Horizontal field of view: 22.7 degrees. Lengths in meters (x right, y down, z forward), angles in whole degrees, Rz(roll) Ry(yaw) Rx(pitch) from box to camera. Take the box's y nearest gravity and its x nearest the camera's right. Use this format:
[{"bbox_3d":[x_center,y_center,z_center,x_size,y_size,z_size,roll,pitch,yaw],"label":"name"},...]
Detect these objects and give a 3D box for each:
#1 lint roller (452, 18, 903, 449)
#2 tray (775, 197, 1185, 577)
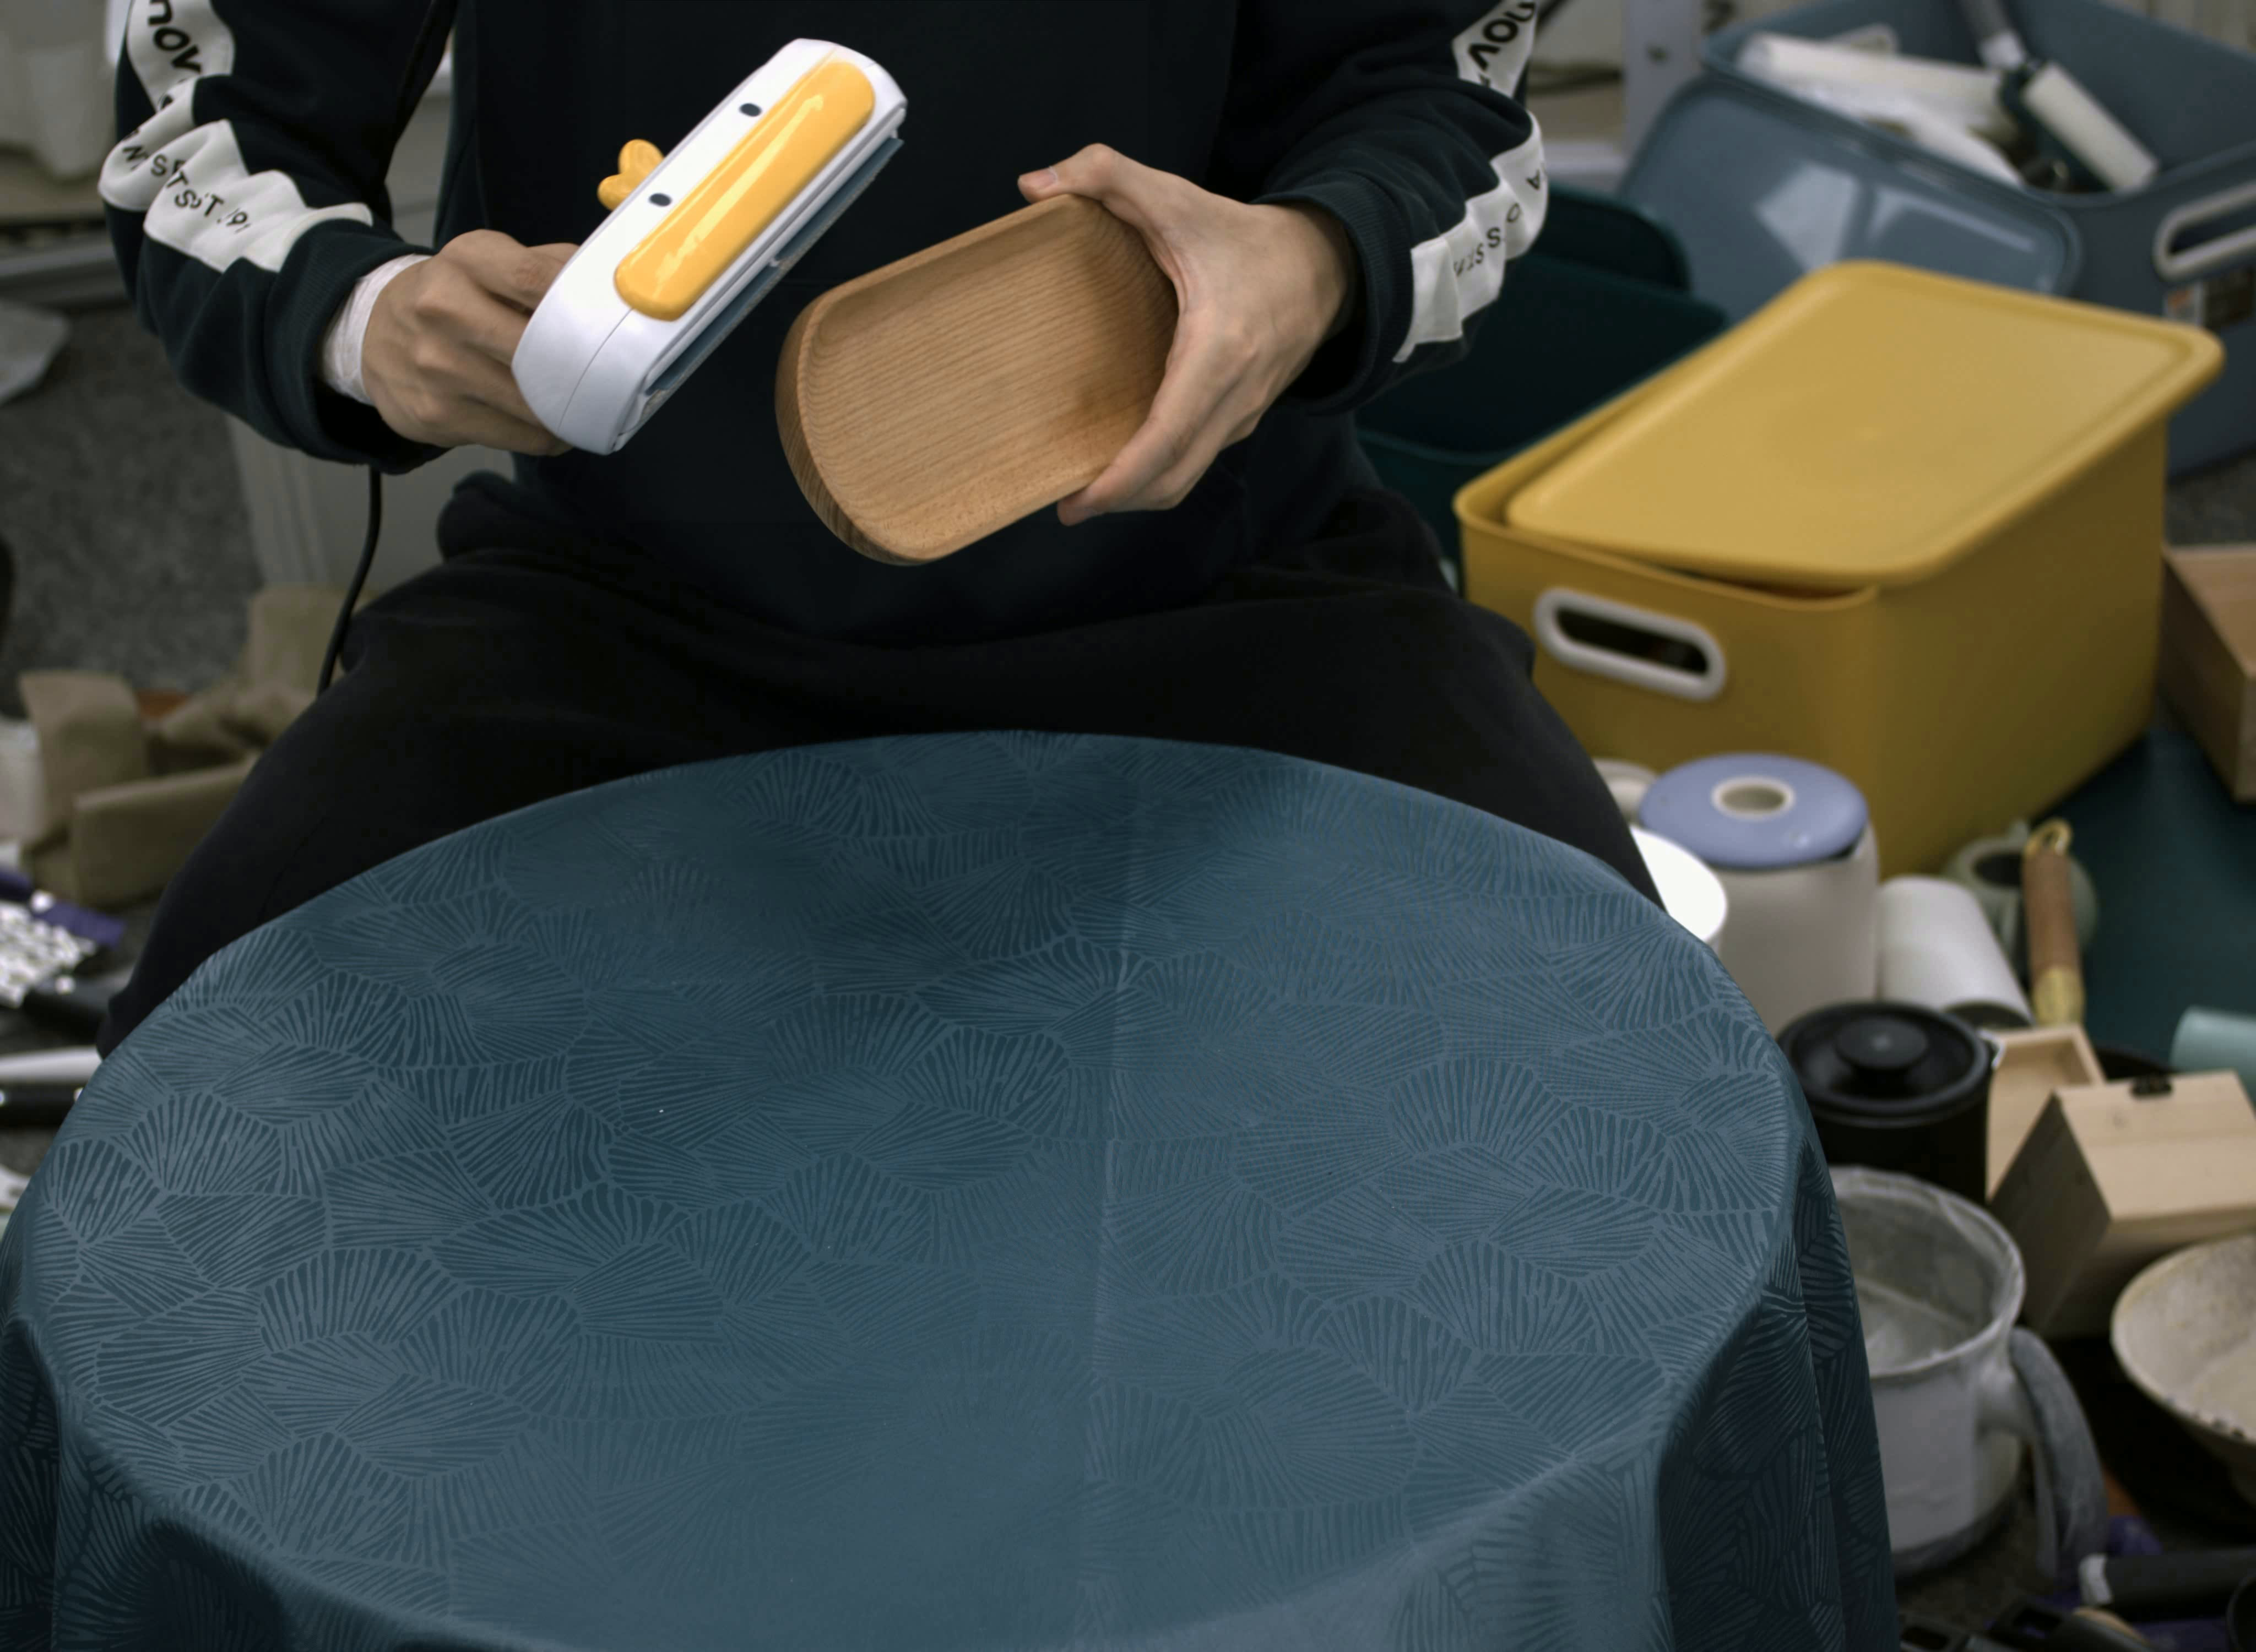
[{"bbox_3d":[-0.174,-0.182,1.975,0.074,0.189,0.197,38,47,-7],"label":"lint roller"},{"bbox_3d":[-0.050,-0.156,1.992,0.020,0.102,0.234,-18,8,38],"label":"tray"}]
